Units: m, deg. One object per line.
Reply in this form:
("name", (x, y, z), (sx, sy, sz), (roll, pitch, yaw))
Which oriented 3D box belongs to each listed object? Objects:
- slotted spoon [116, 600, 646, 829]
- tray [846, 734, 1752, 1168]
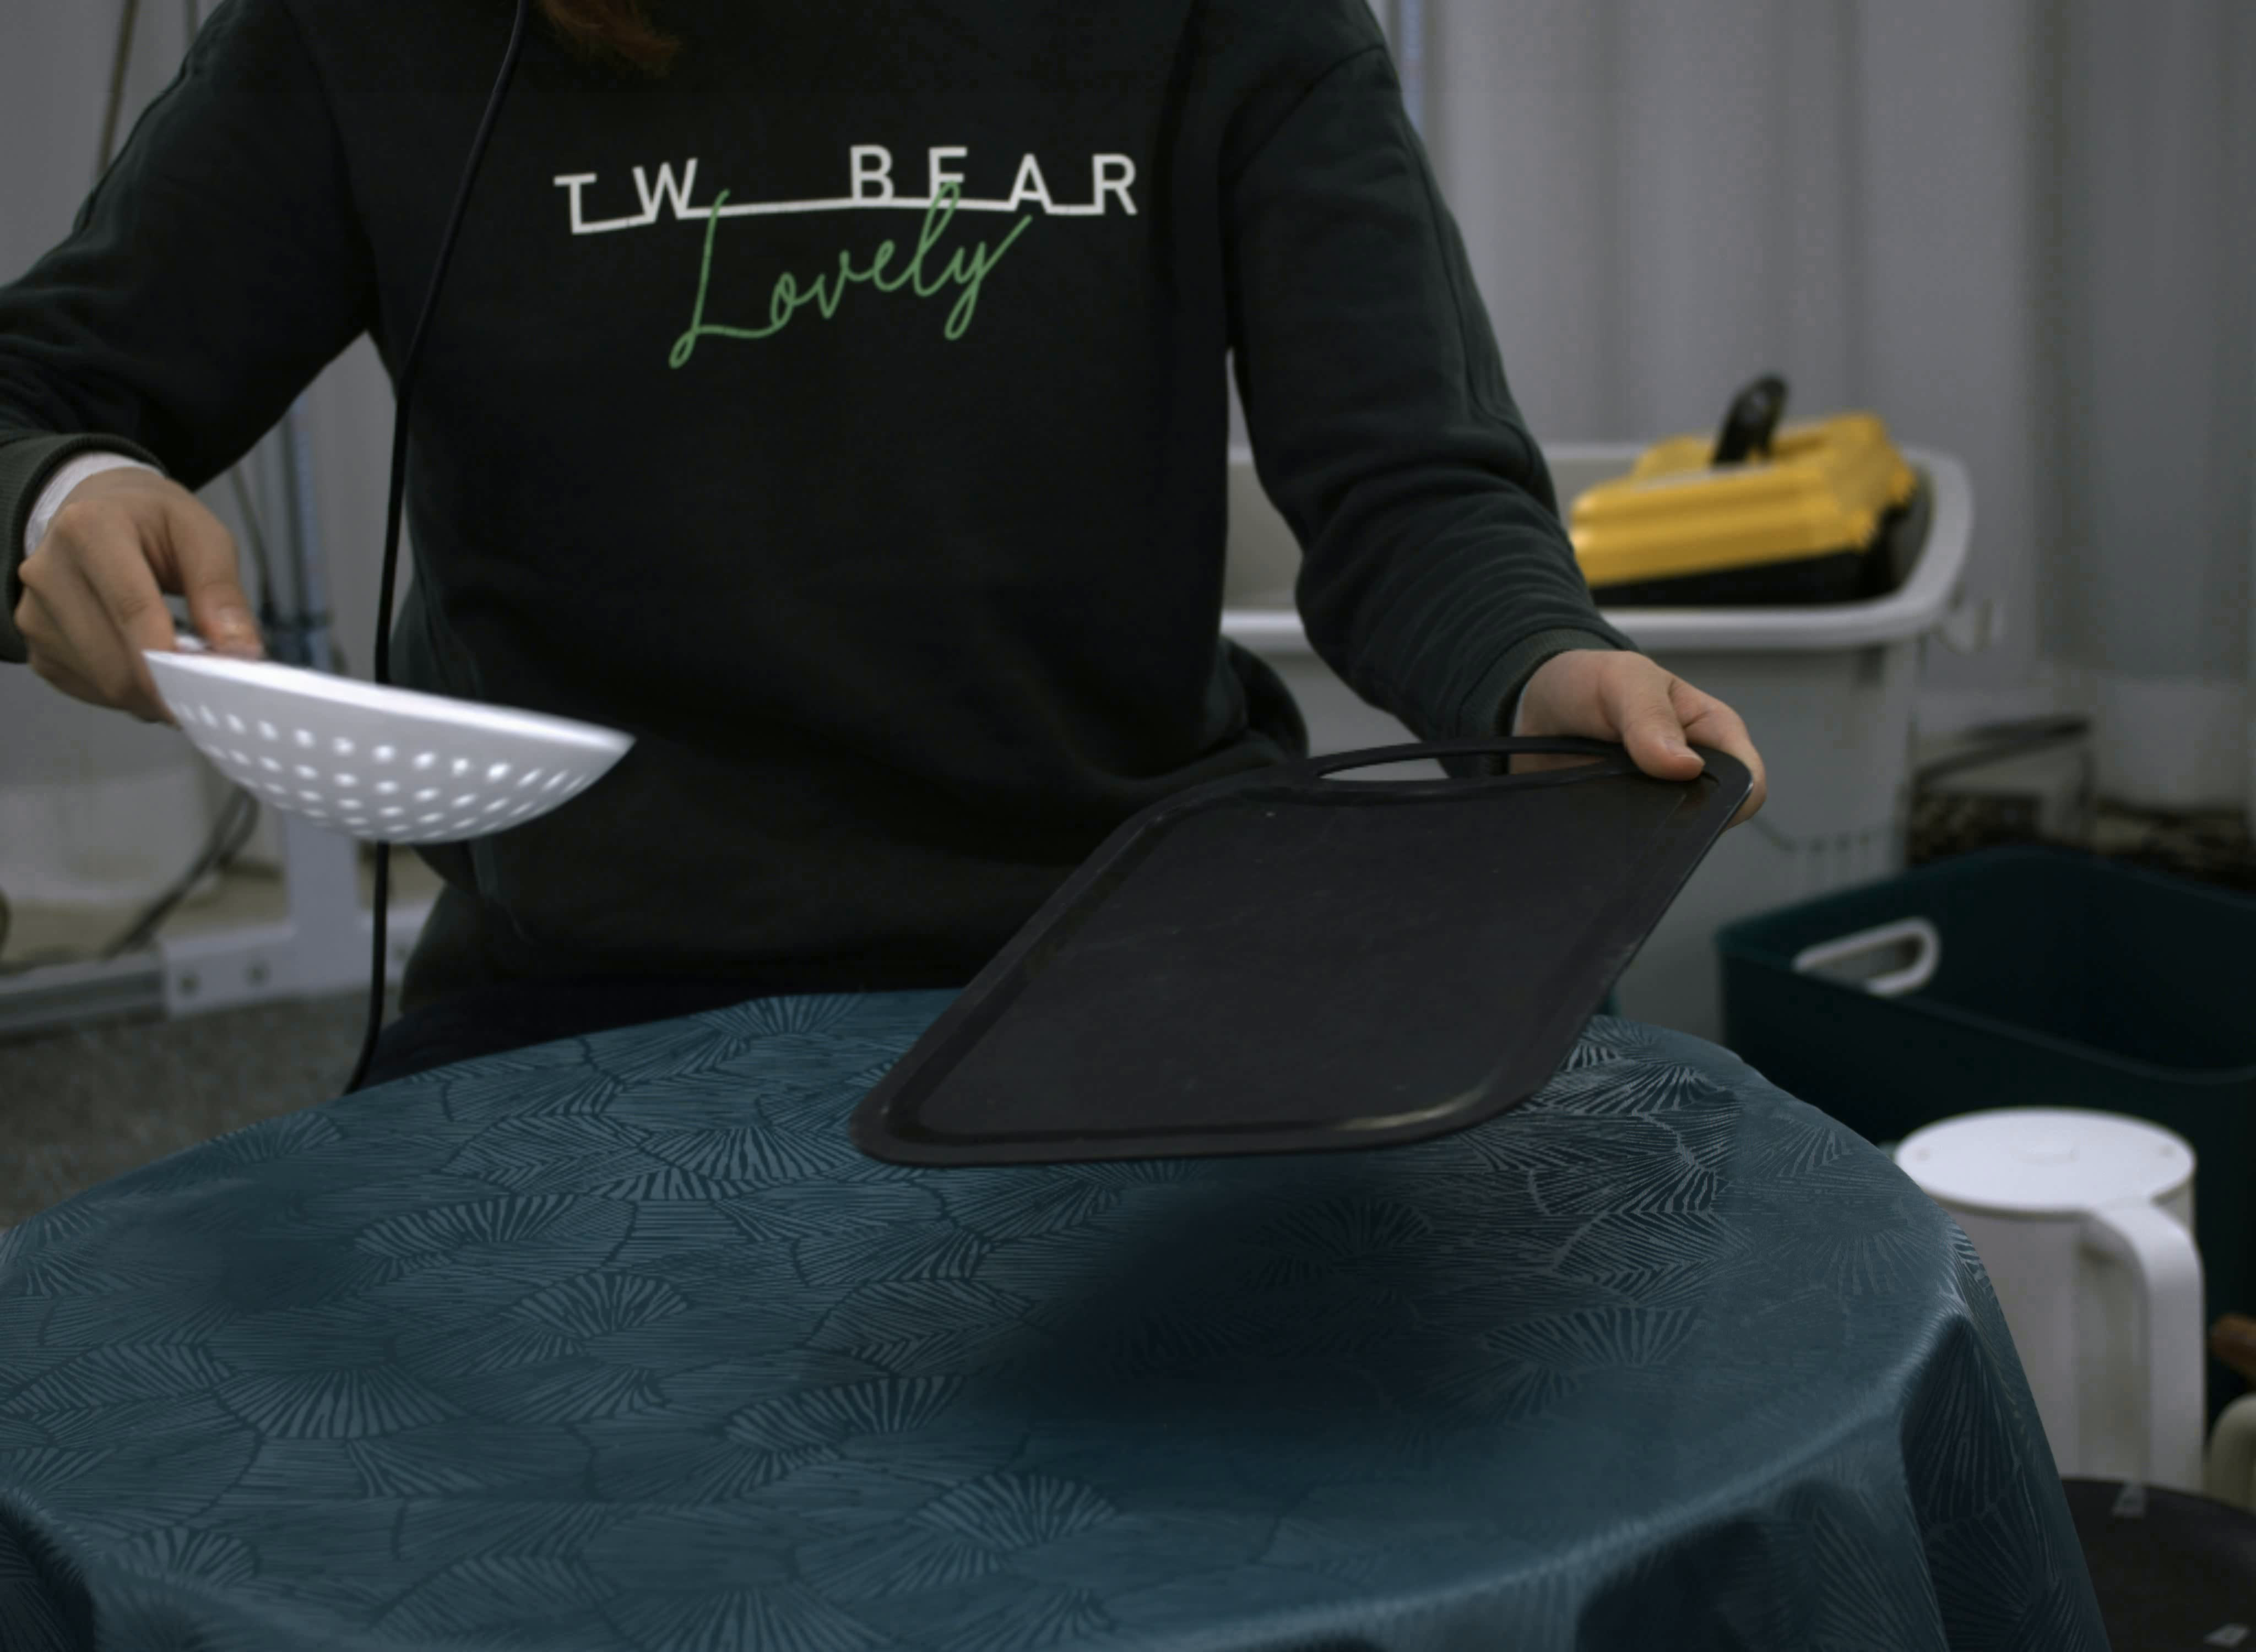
("slotted spoon", (-0.246, -0.044, 1.615), (0.135, 0.046, 0.352), (8, 8, -25))
("tray", (0.058, 0.030, 1.621), (0.211, 0.010, 0.327), (-3, 20, 23))
